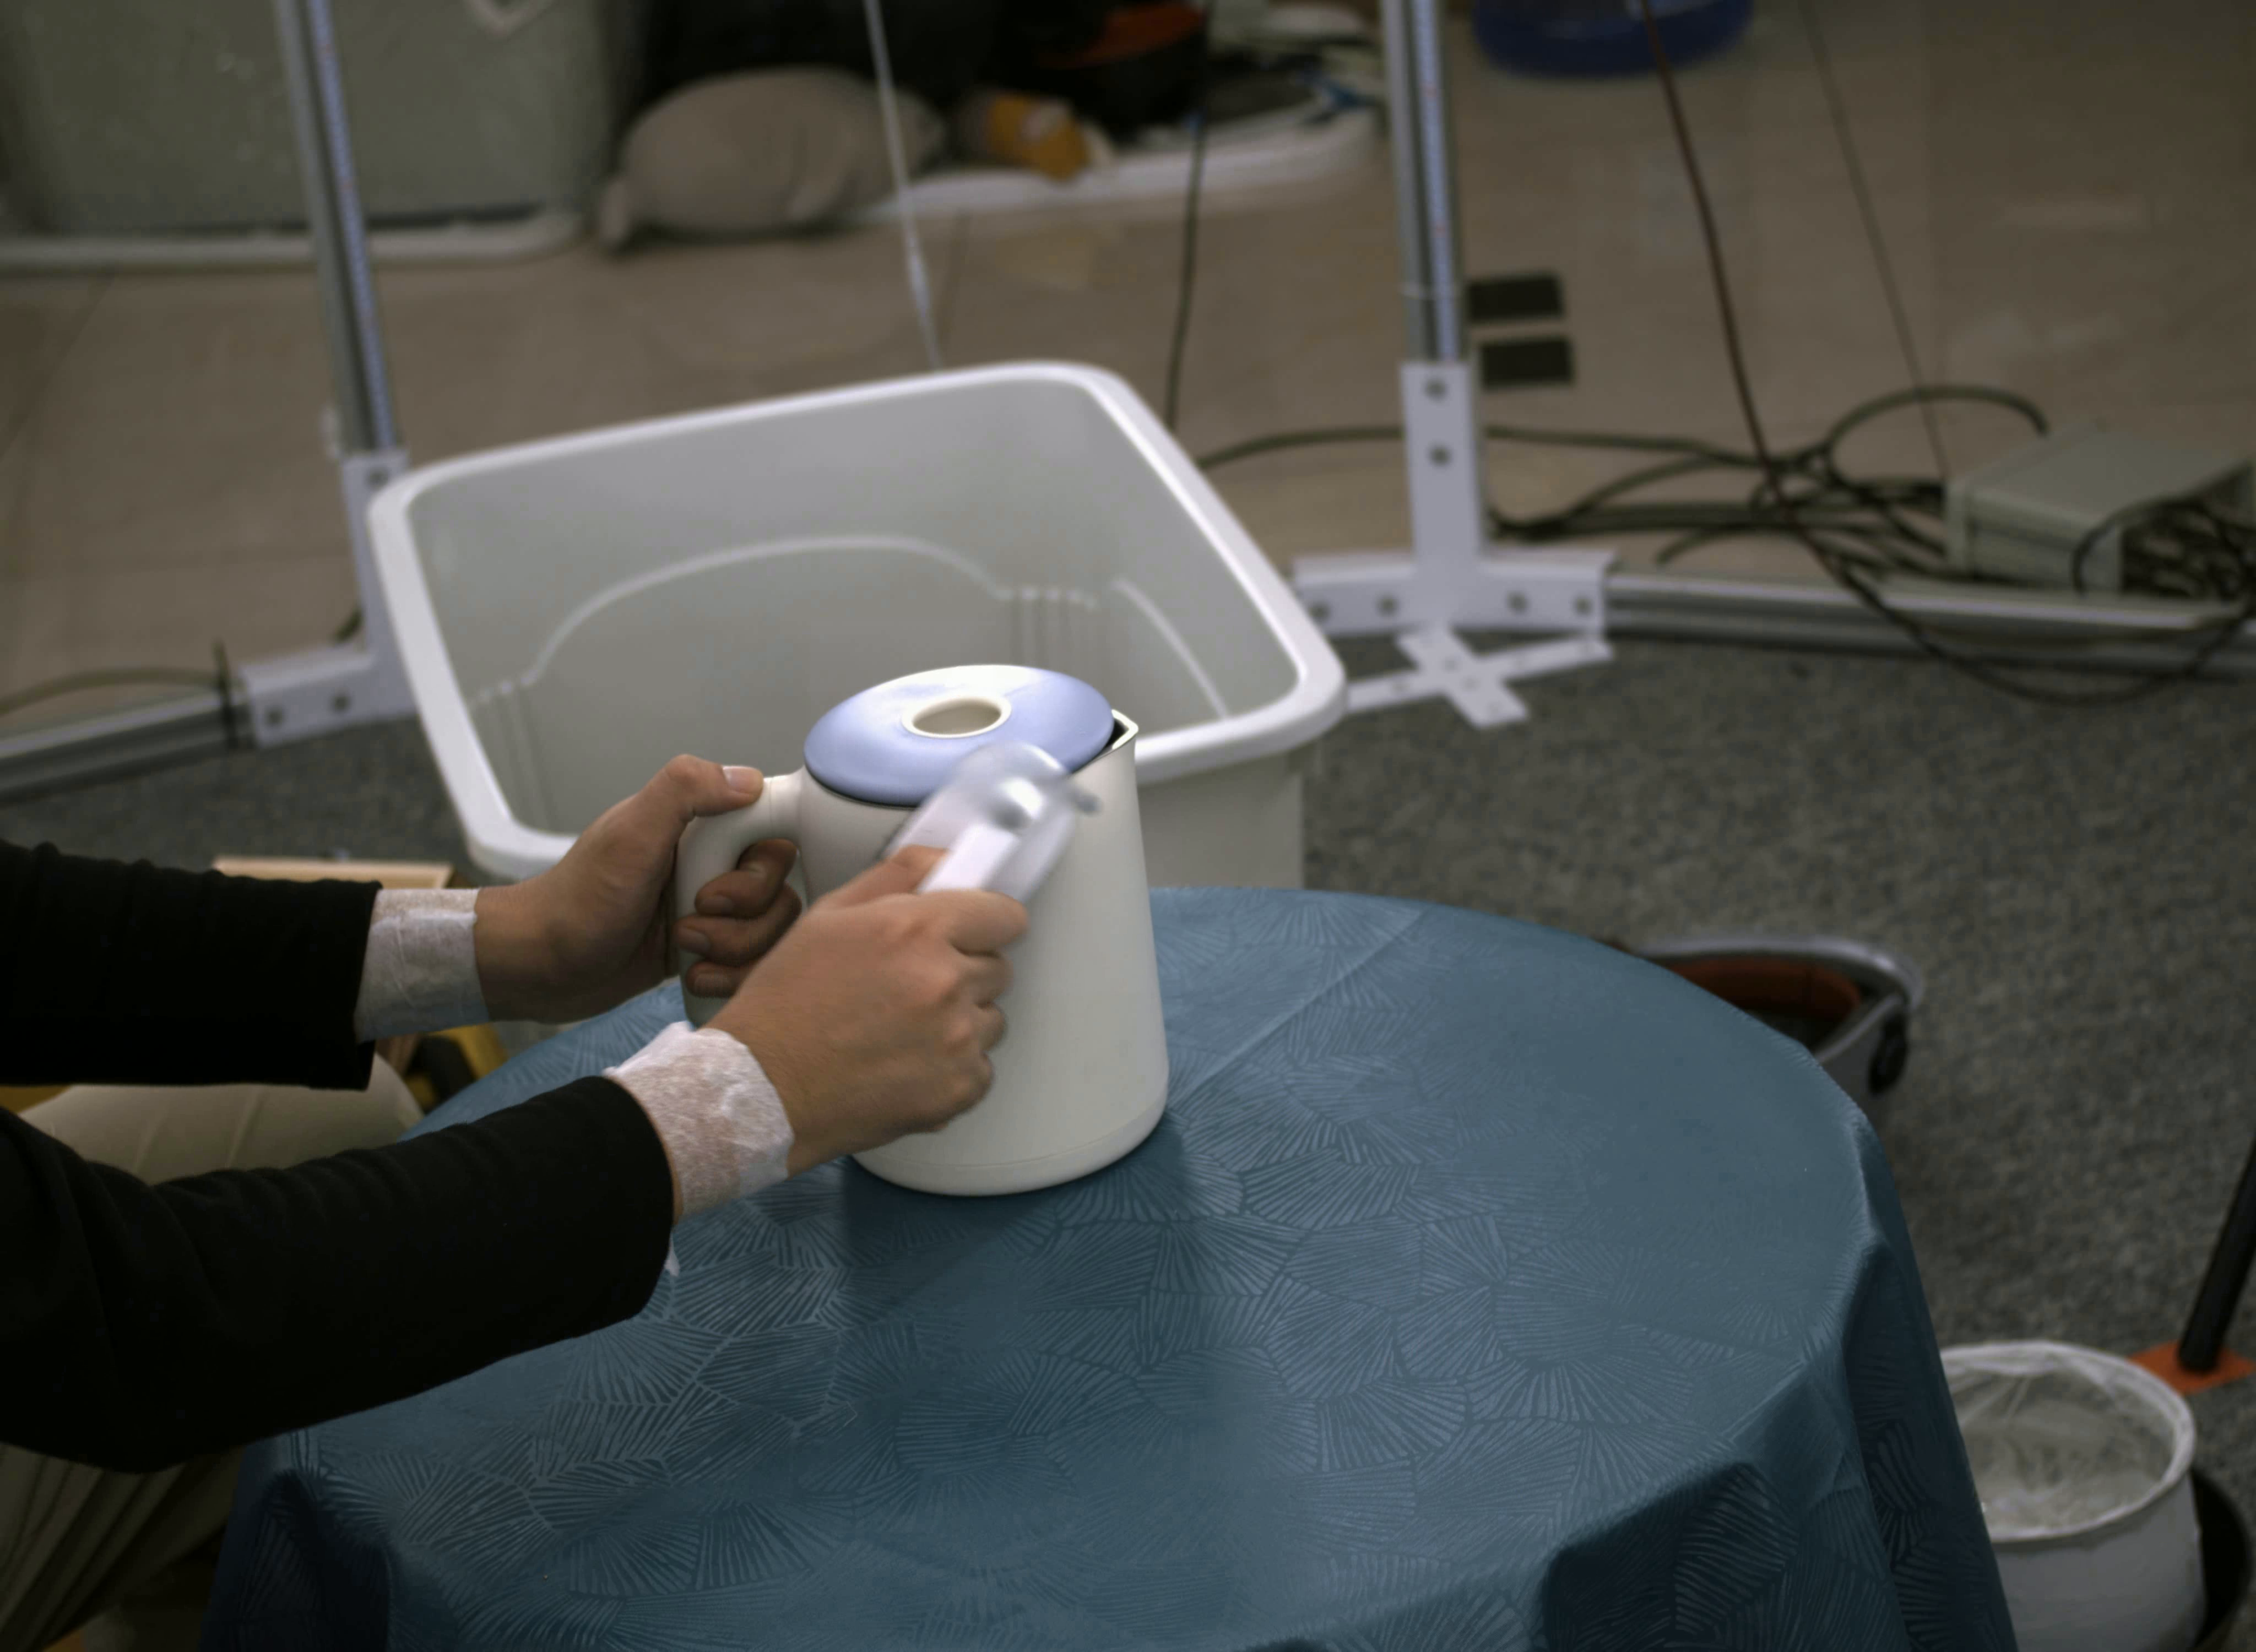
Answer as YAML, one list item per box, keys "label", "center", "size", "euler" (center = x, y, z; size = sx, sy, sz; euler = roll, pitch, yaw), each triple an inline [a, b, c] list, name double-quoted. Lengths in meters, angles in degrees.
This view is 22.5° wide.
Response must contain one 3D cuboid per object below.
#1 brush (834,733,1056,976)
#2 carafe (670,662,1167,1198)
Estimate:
- label: "brush"
  center: [-0.065, 0.011, 2.048]
  size: [0.099, 0.050, 0.072]
  euler: [-49, 5, 1]
- label: "carafe"
  center: [-0.081, 0.042, 2.172]
  size: [0.191, 0.185, 0.130]
  euler: [-6, 25, 5]
